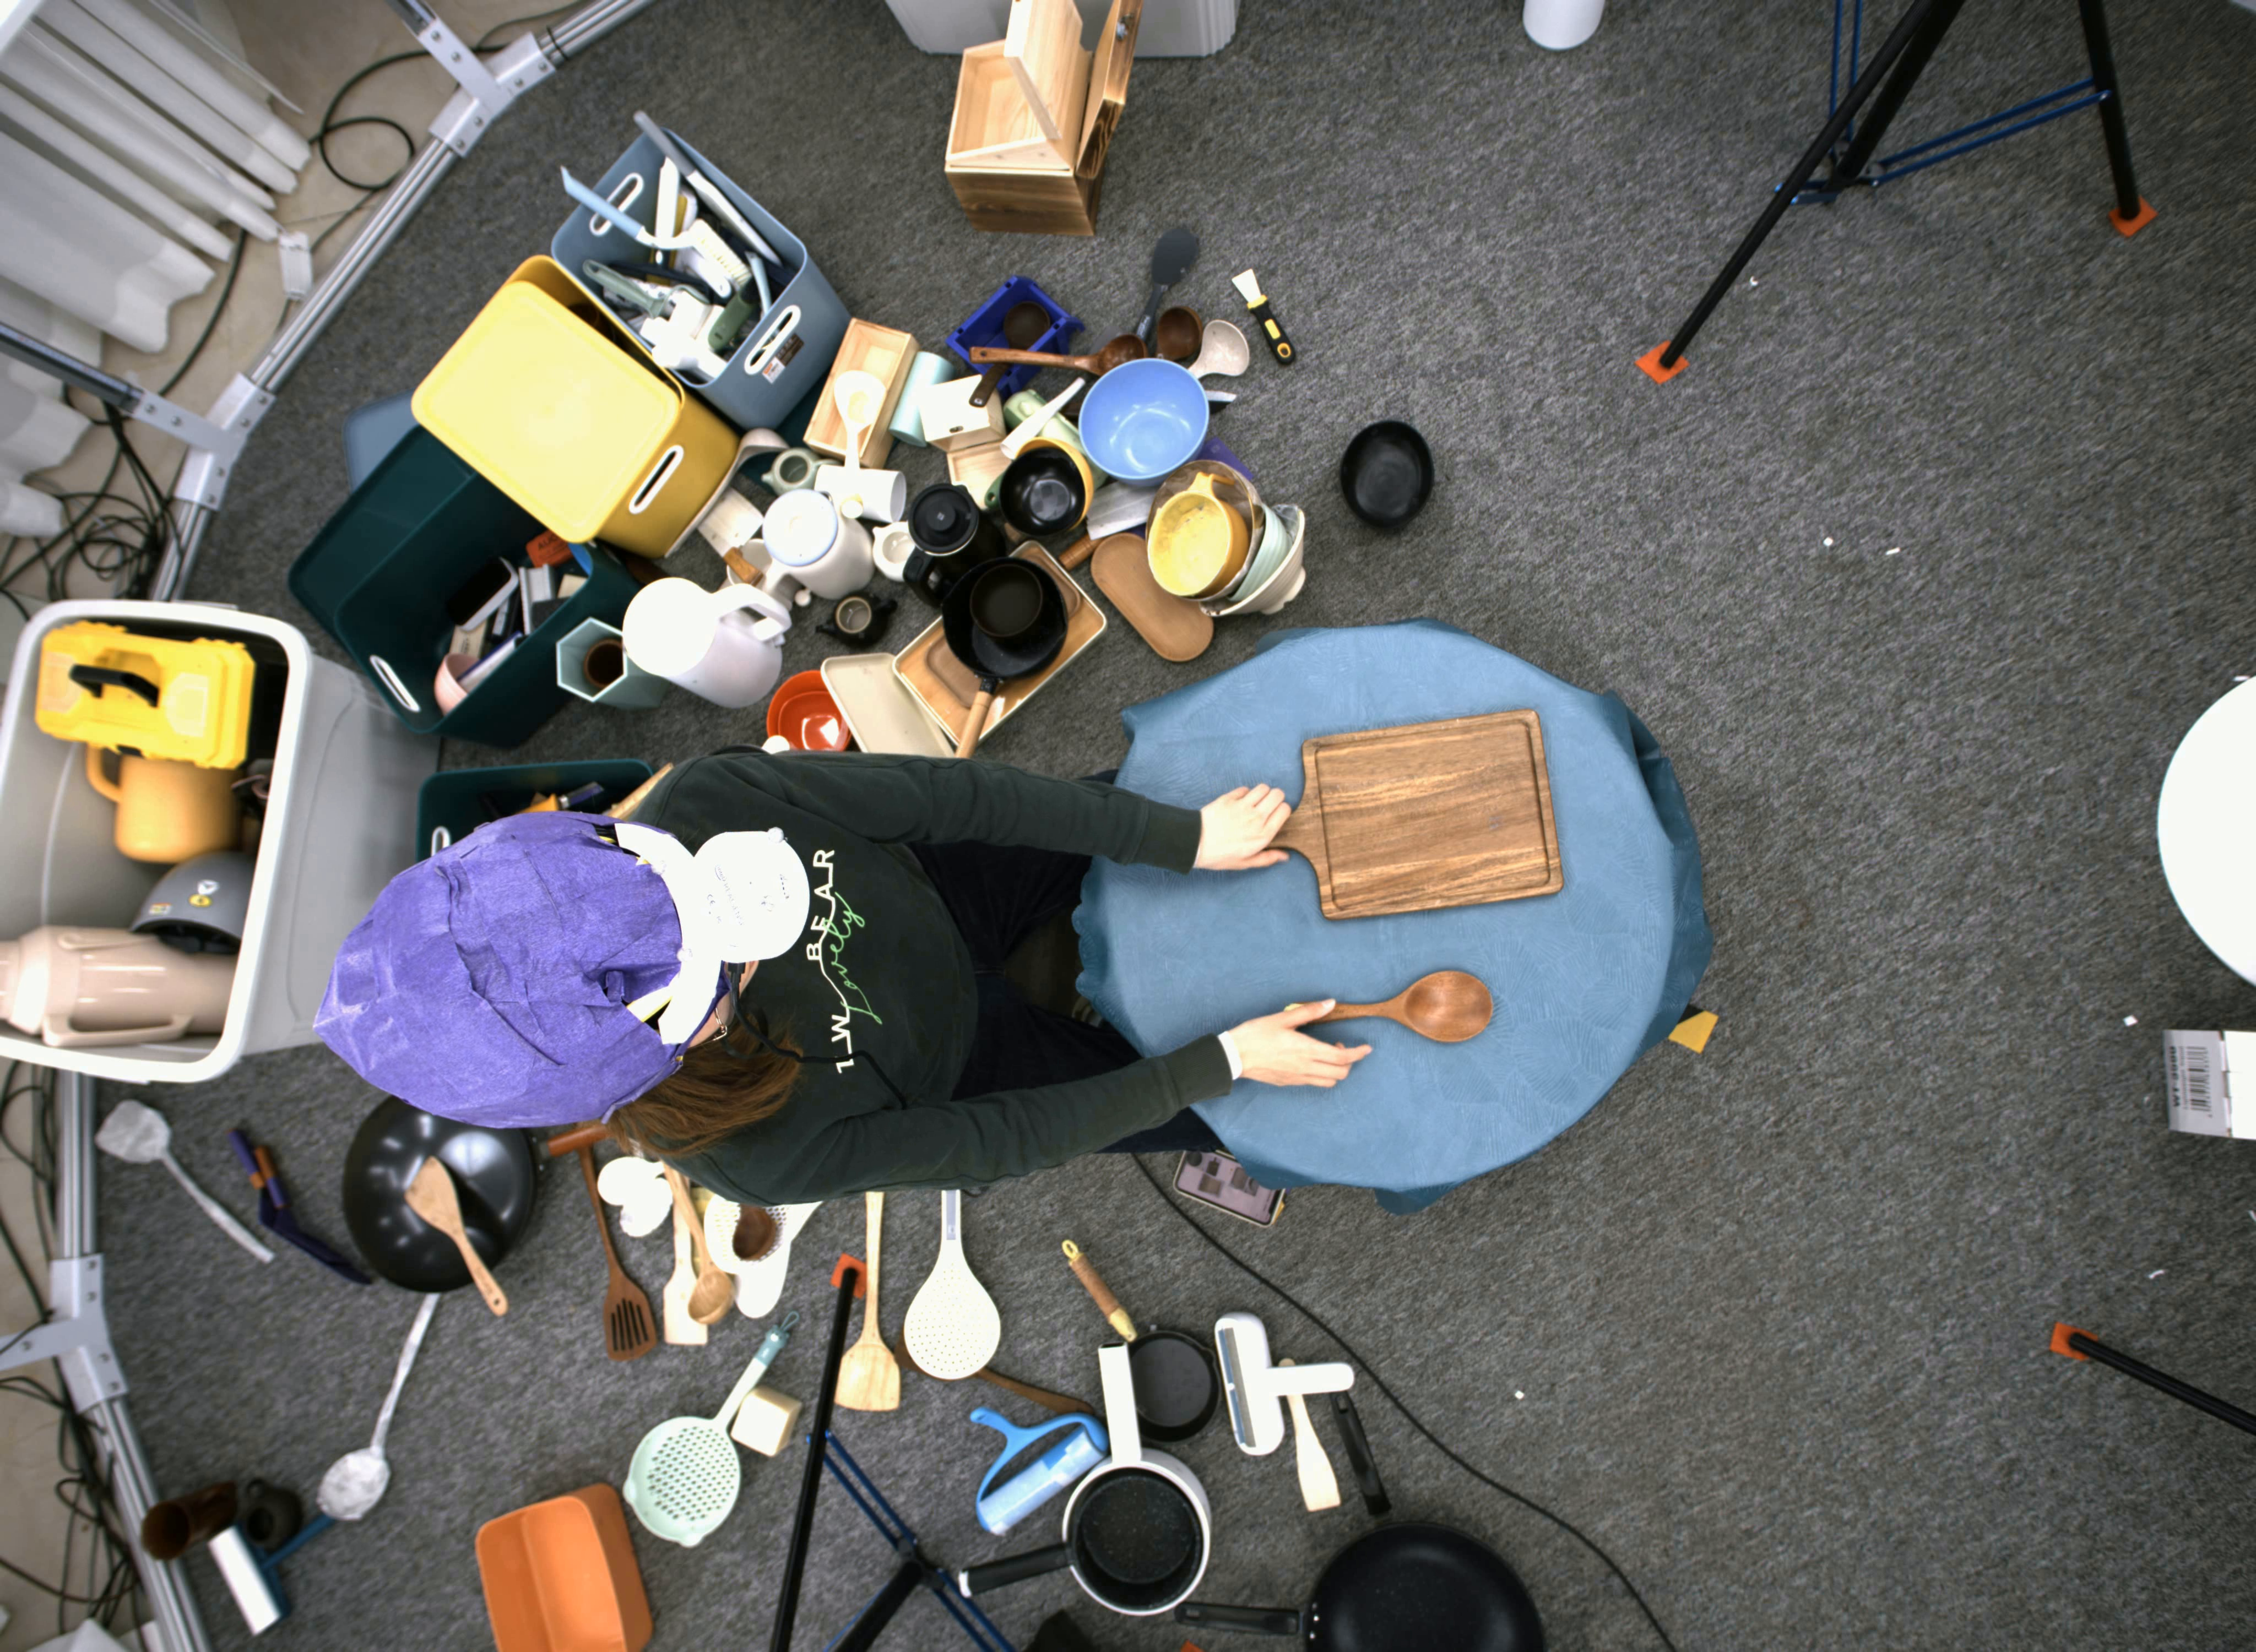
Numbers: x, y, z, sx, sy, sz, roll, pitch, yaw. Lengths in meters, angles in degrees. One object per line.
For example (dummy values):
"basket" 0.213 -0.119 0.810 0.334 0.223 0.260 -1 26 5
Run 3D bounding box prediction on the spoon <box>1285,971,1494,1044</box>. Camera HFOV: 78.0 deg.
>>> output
"spoon" 0.272 0.192 1.447 0.217 0.017 0.075 -4 87 9

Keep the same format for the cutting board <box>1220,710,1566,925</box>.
"cutting board" 0.272 -0.004 1.461 0.354 0.023 0.200 -8 86 10
